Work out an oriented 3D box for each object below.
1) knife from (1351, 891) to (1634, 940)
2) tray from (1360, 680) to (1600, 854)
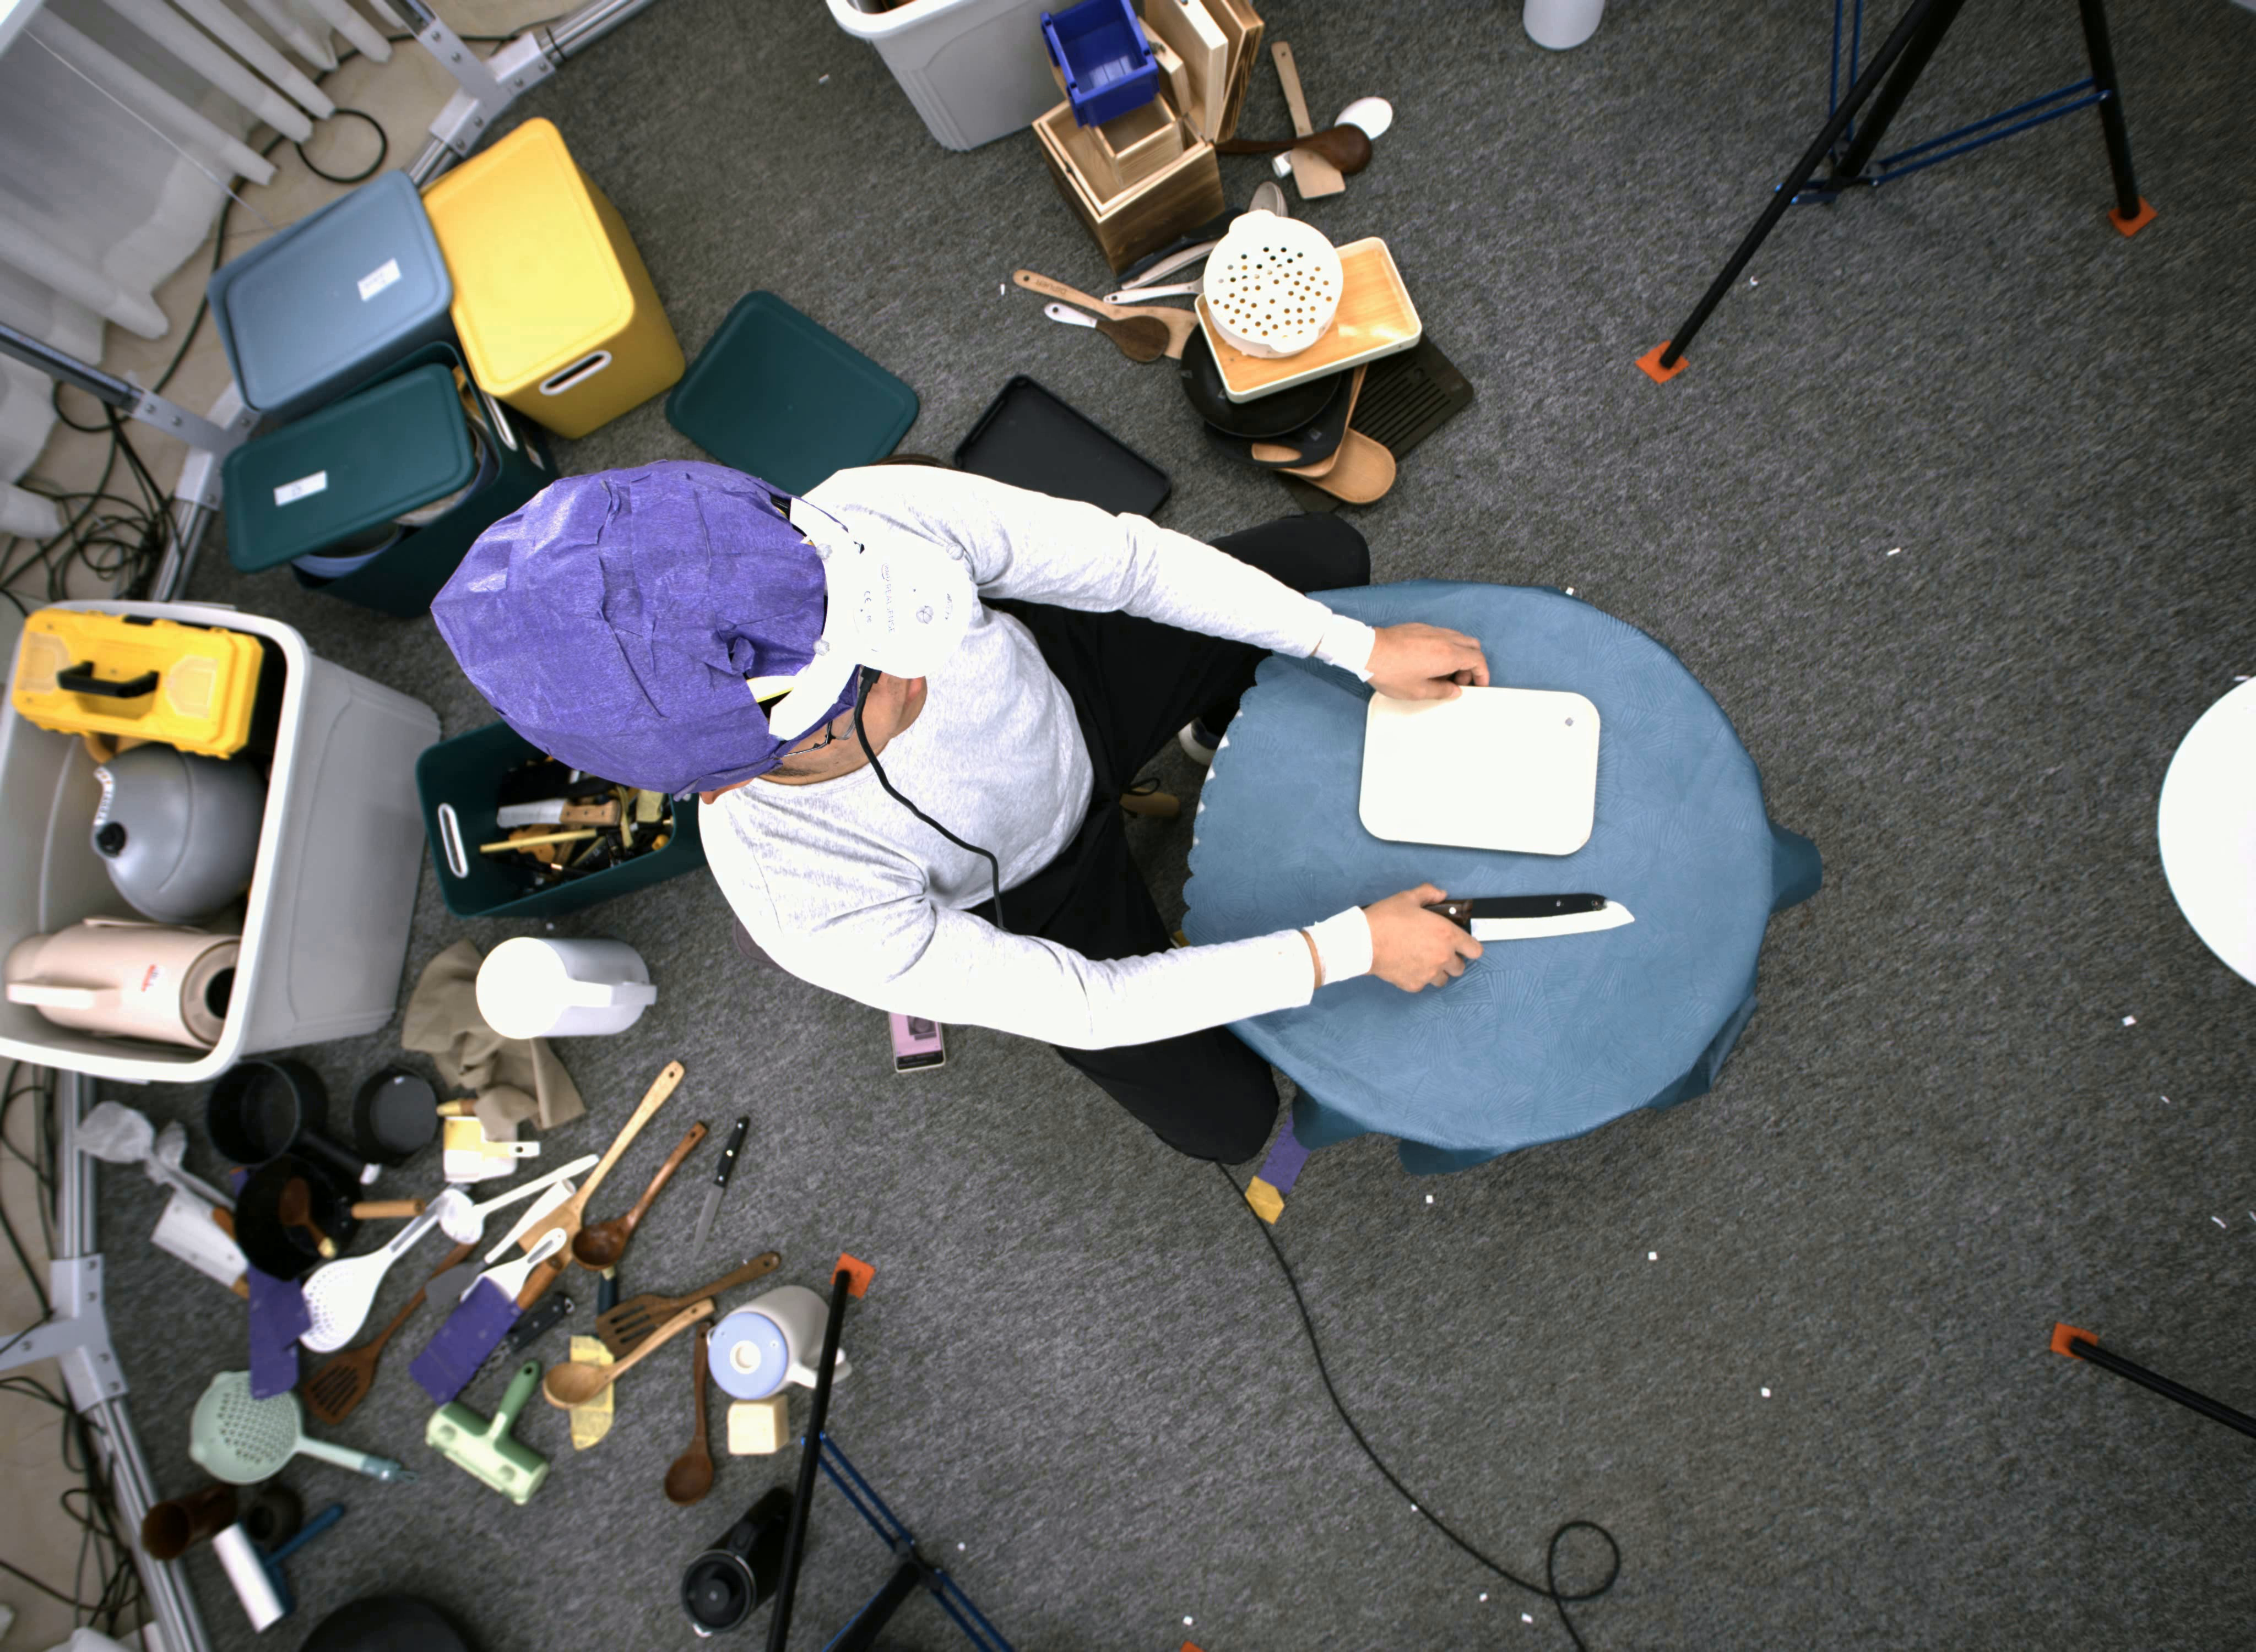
[{"bbox_3d":[0.378,0.092,1.431,0.290,0.020,0.050,-1,91,8],"label":"knife"},{"bbox_3d":[0.368,-0.064,1.440,0.240,0.017,0.171,5,88,11],"label":"tray"}]
